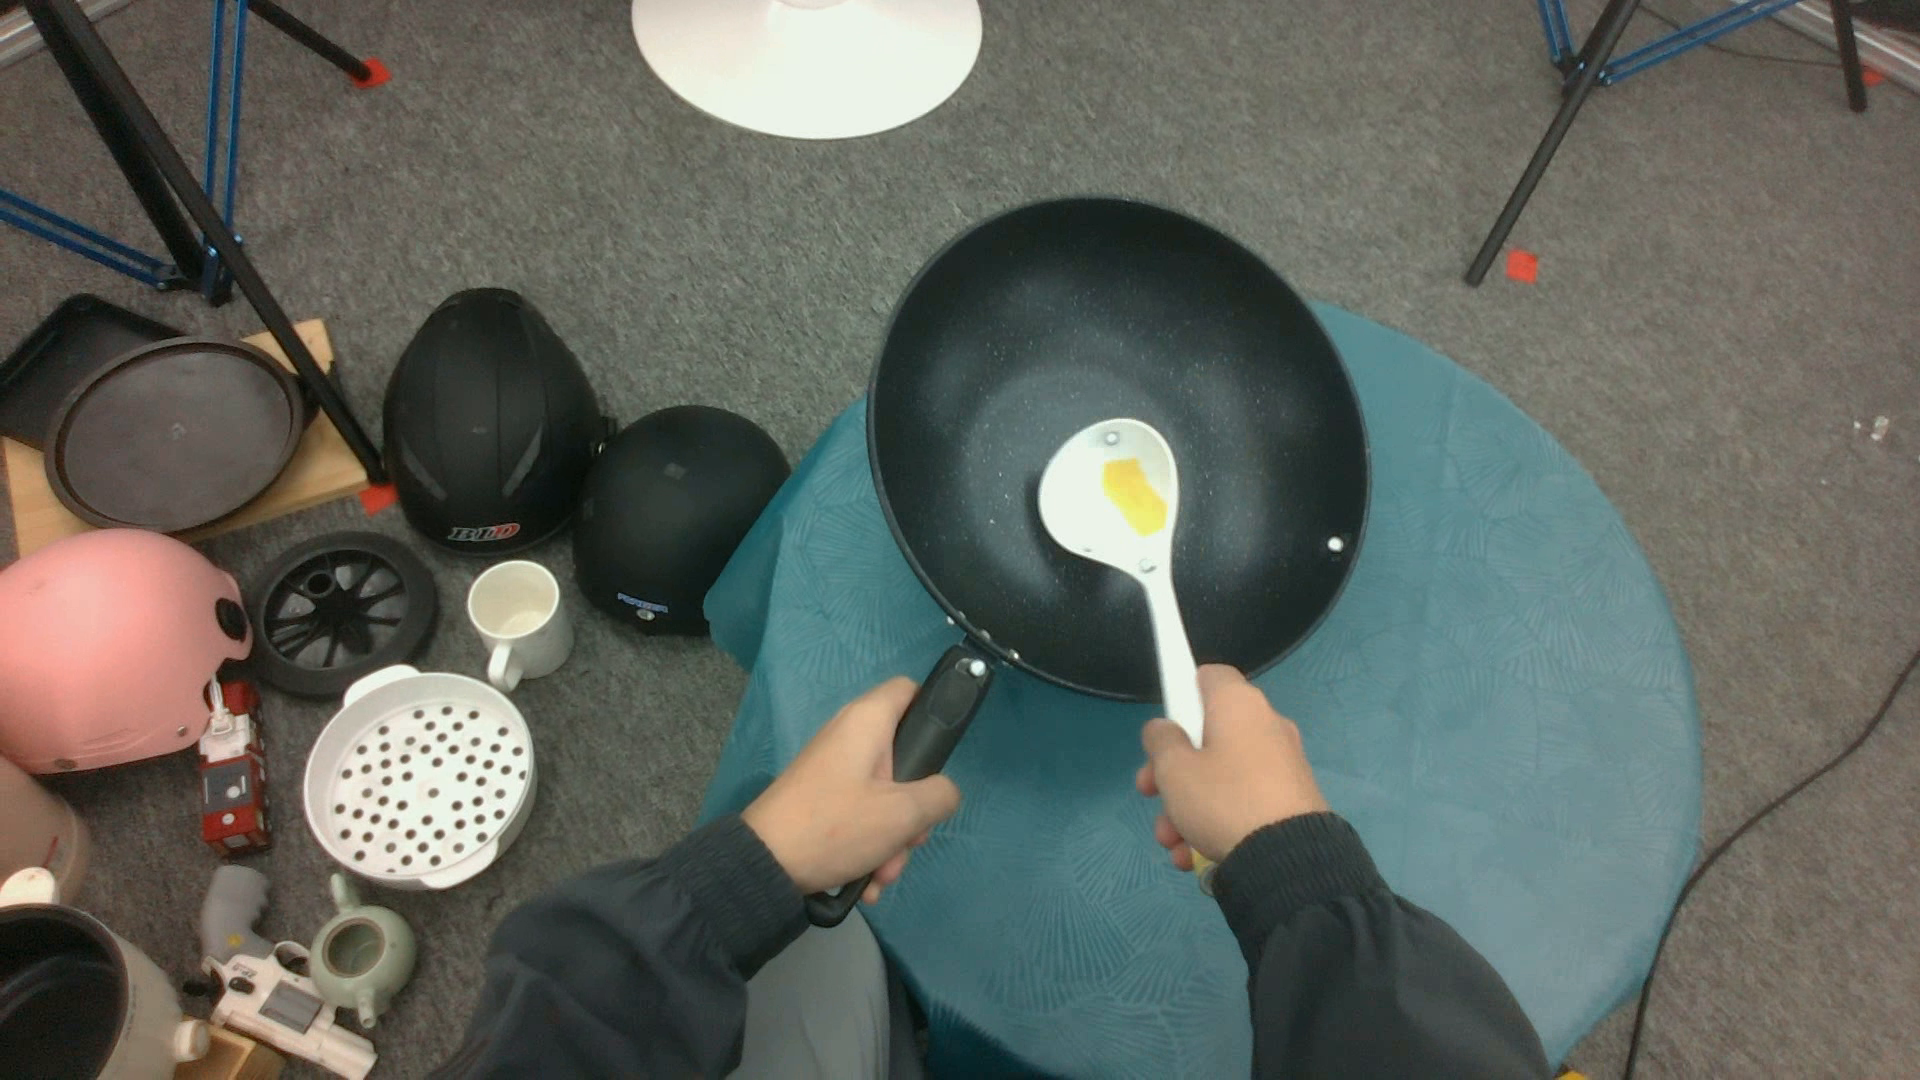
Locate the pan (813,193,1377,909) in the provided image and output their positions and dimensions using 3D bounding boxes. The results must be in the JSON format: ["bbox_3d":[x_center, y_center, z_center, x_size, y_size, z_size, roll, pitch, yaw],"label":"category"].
[{"bbox_3d":[0.052,0.007,0.799,0.310,0.111,0.478,35,68,-2],"label":"pan"}]

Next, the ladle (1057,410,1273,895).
[{"bbox_3d":[0.111,0.049,0.744,0.090,0.070,0.294,-33,39,25],"label":"ladle"}]
